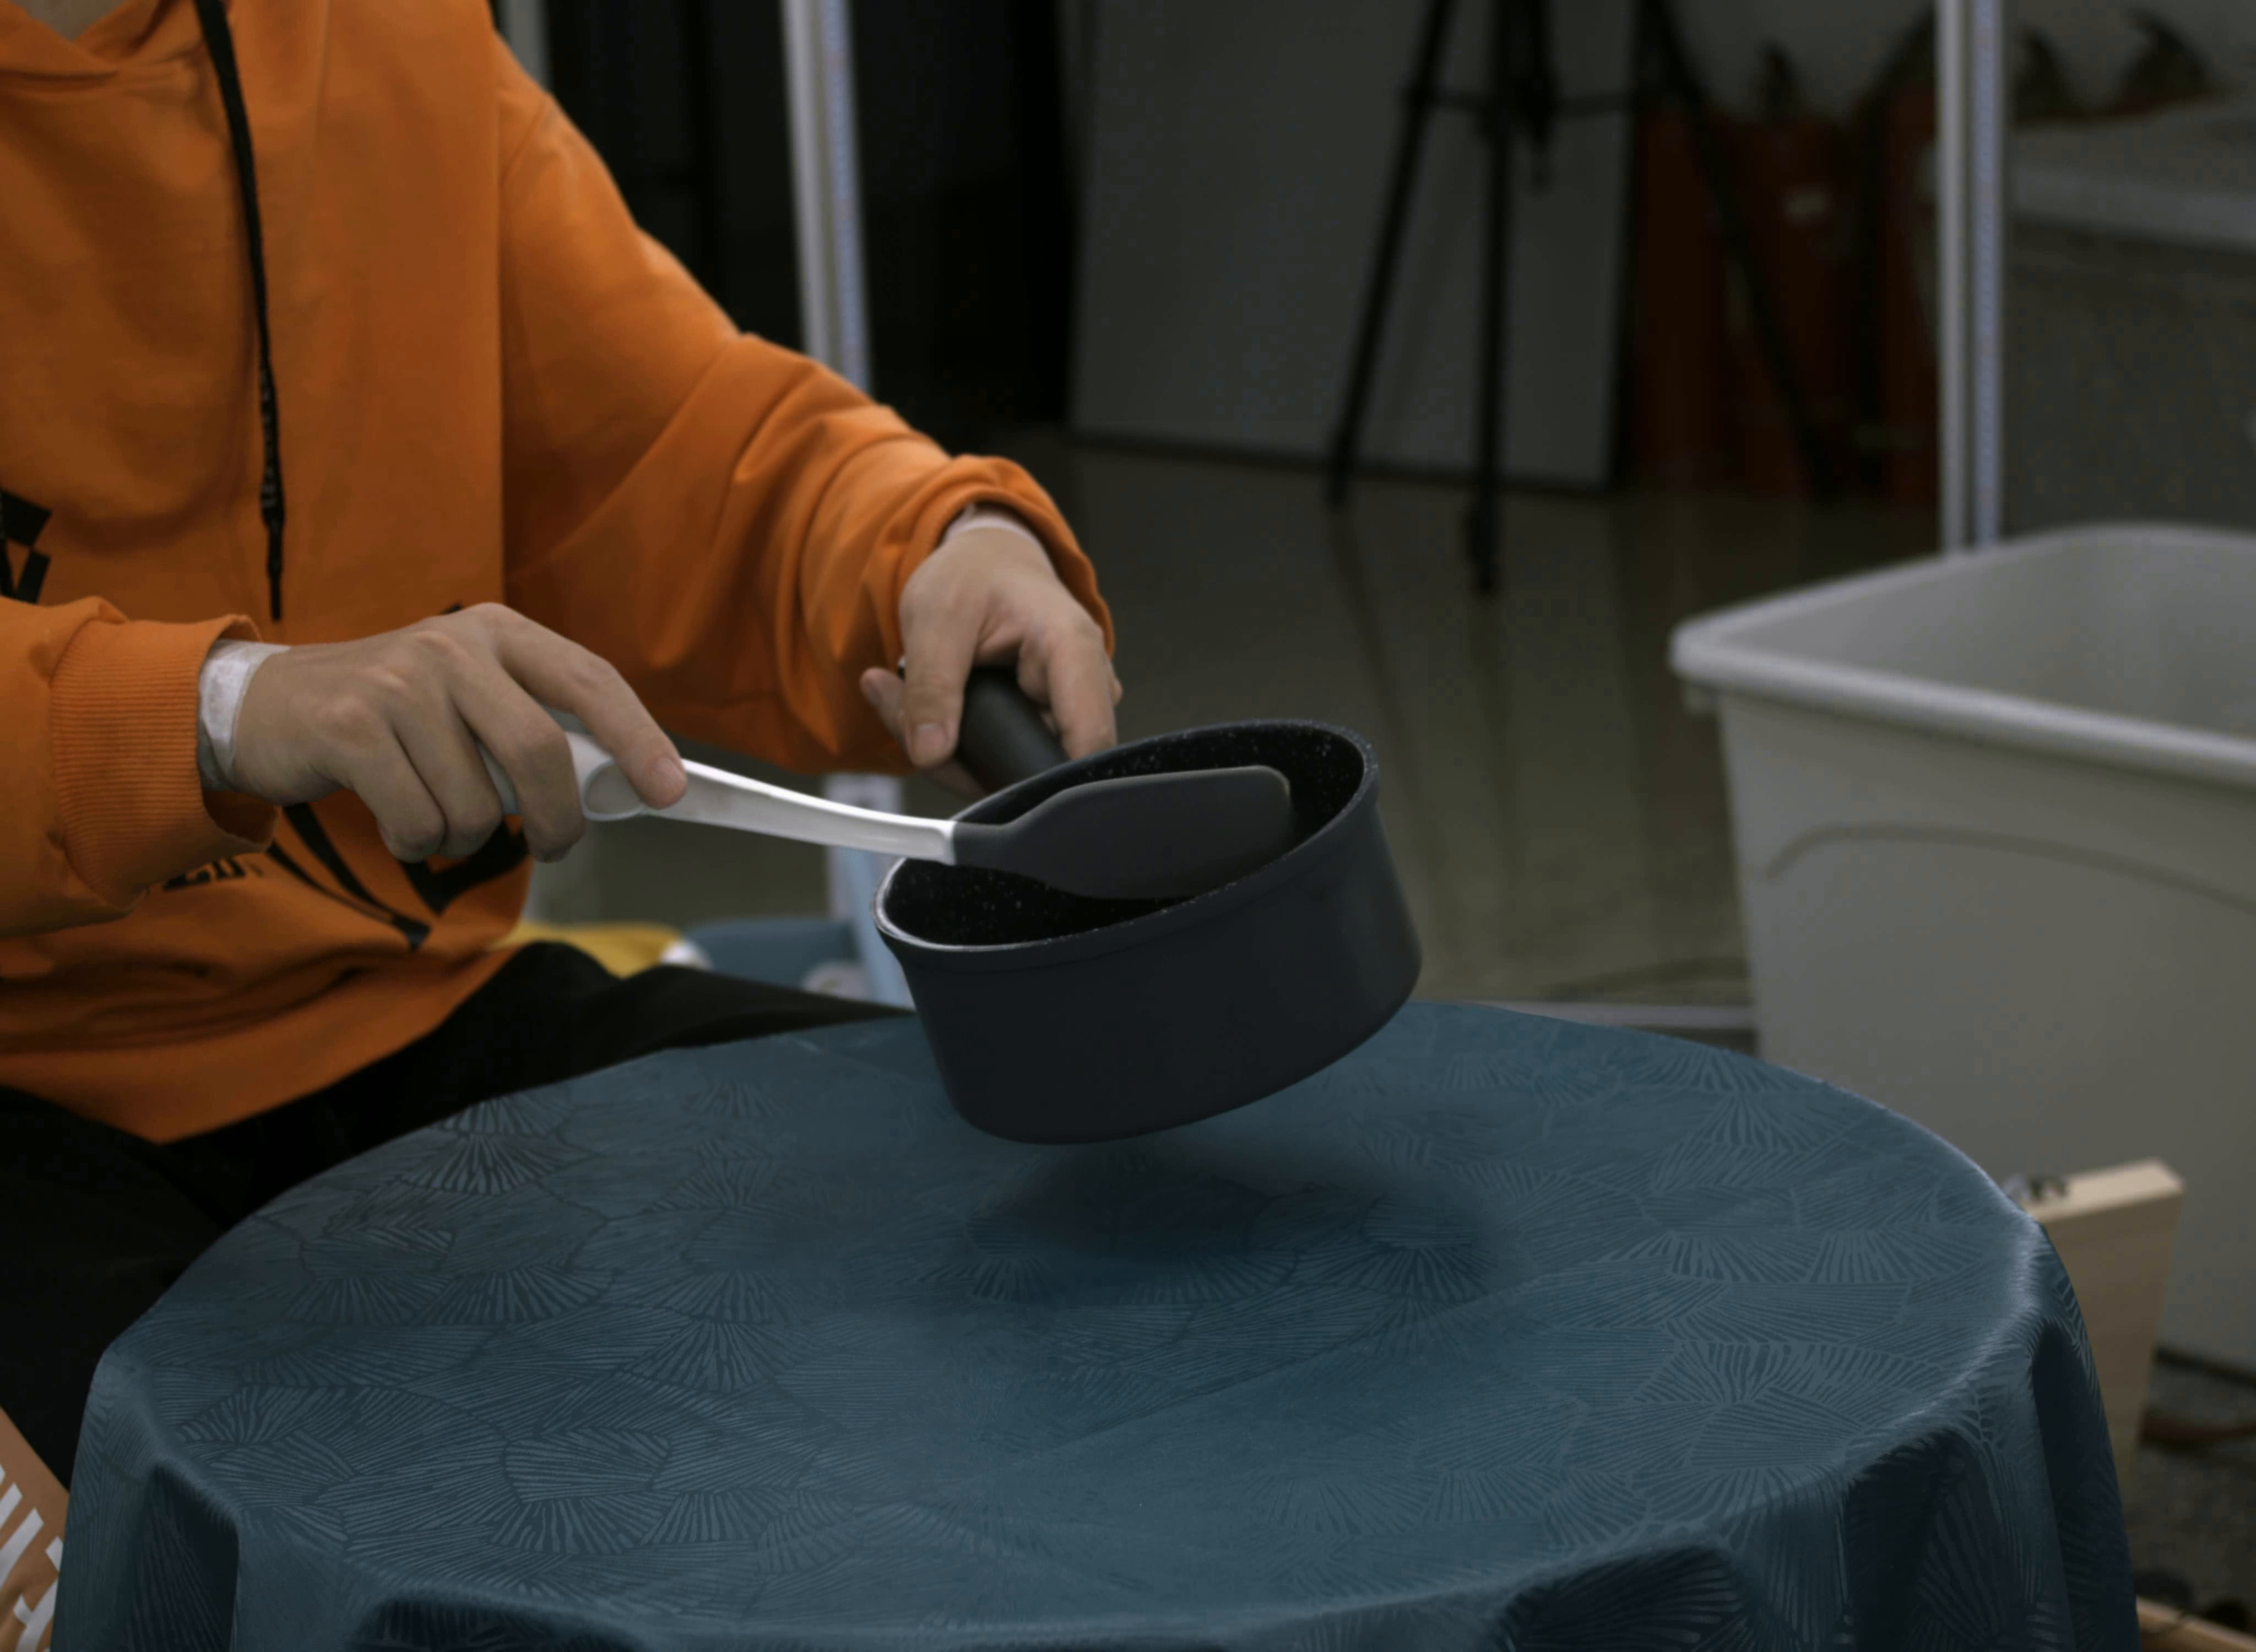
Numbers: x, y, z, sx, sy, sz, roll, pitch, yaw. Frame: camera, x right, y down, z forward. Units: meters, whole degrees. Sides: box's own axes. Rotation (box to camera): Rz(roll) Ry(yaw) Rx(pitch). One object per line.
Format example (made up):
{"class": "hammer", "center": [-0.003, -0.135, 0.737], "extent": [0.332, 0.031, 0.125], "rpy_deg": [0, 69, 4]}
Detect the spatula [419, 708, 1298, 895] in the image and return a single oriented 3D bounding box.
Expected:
{"class": "spatula", "center": [-0.086, -0.008, 1.703], "extent": [0.286, 0.059, 0.032], "rpy_deg": [6, 40, 16]}

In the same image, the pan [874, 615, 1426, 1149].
{"class": "pan", "center": [-0.010, 0.010, 1.811], "extent": [0.170, 0.087, 0.331], "rpy_deg": [-21, 20, -8]}
